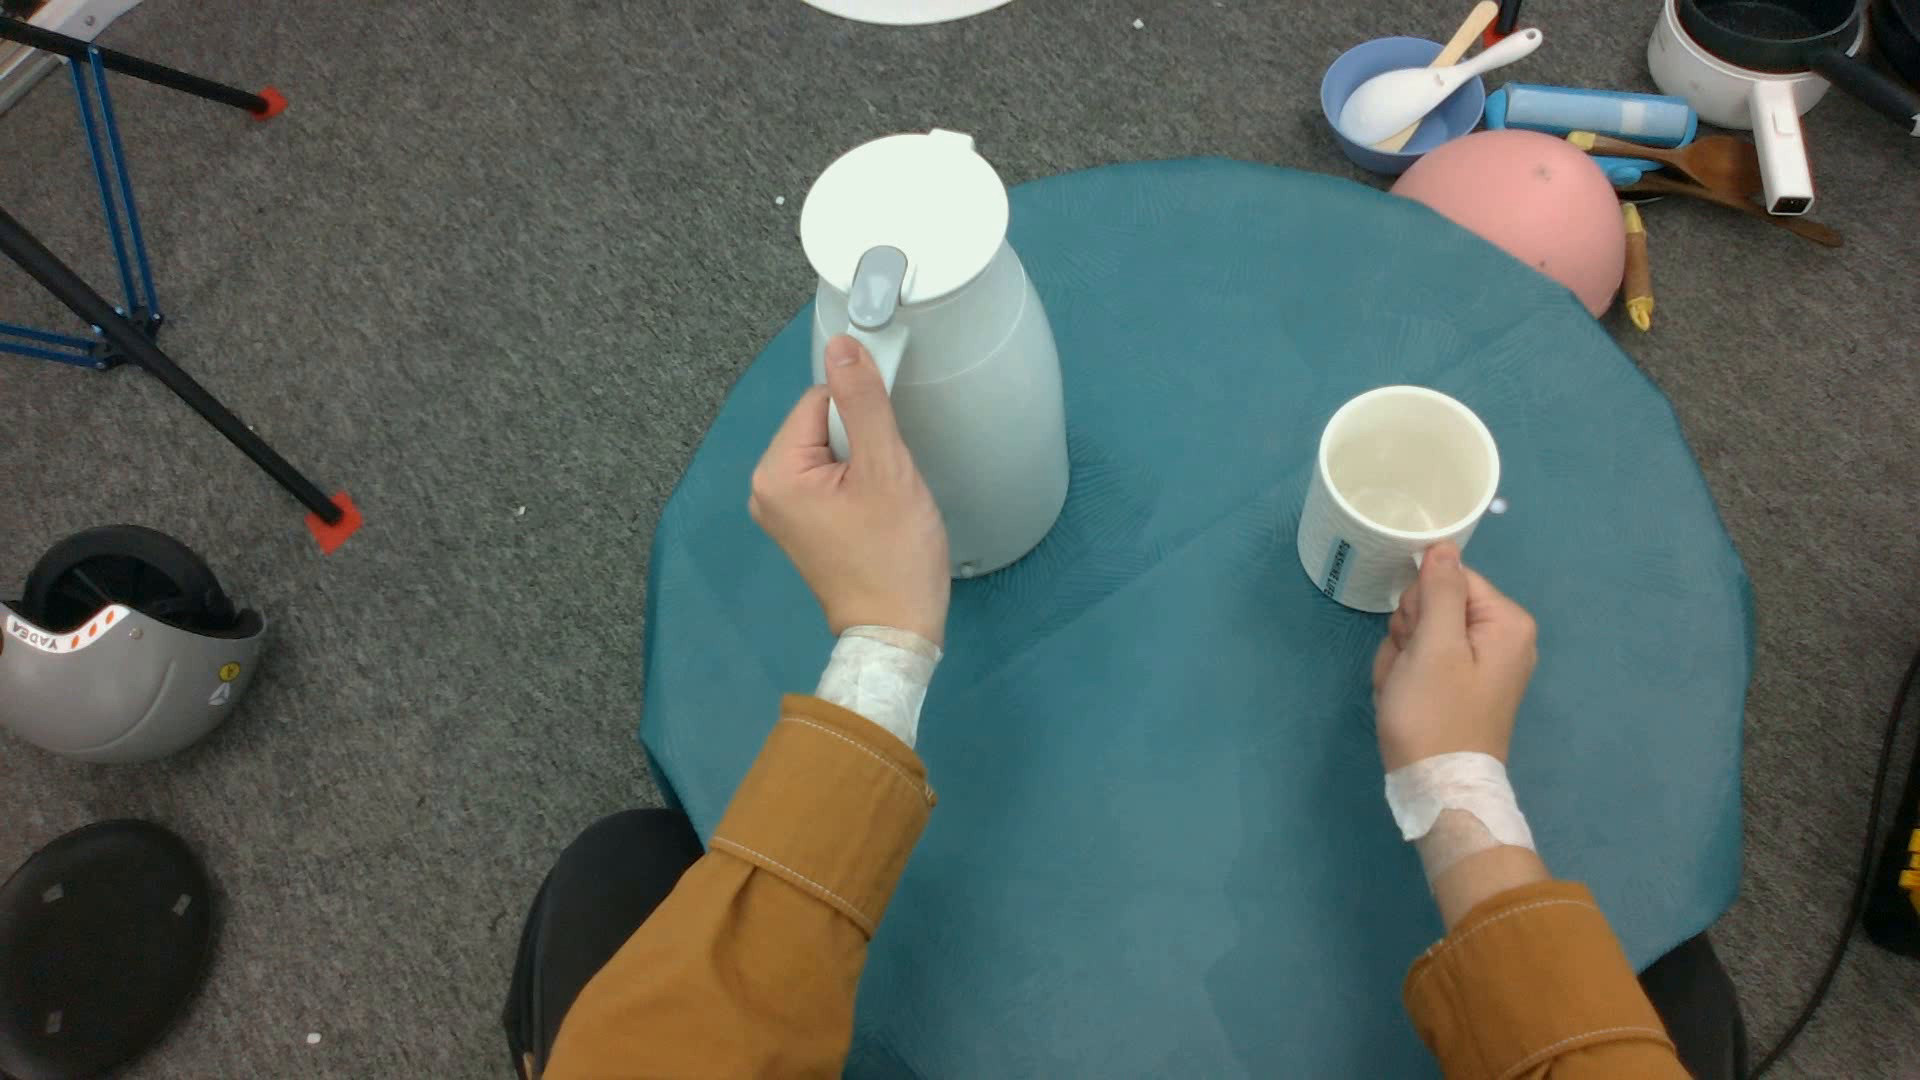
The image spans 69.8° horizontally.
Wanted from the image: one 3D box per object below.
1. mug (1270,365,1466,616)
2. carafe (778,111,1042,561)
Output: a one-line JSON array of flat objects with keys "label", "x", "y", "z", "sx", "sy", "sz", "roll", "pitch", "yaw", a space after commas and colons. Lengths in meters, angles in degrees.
[{"label": "mug", "x": 0.216, "y": -0.016, "z": 0.724, "sx": 0.085, "sy": 0.101, "sz": 0.118, "roll": -13, "pitch": 63, "yaw": -2}, {"label": "carafe", "x": -0.031, "y": -0.083, "z": 0.697, "sx": 0.132, "sy": 0.248, "sz": 0.168, "roll": 13, "pitch": 66, "yaw": 10}]
